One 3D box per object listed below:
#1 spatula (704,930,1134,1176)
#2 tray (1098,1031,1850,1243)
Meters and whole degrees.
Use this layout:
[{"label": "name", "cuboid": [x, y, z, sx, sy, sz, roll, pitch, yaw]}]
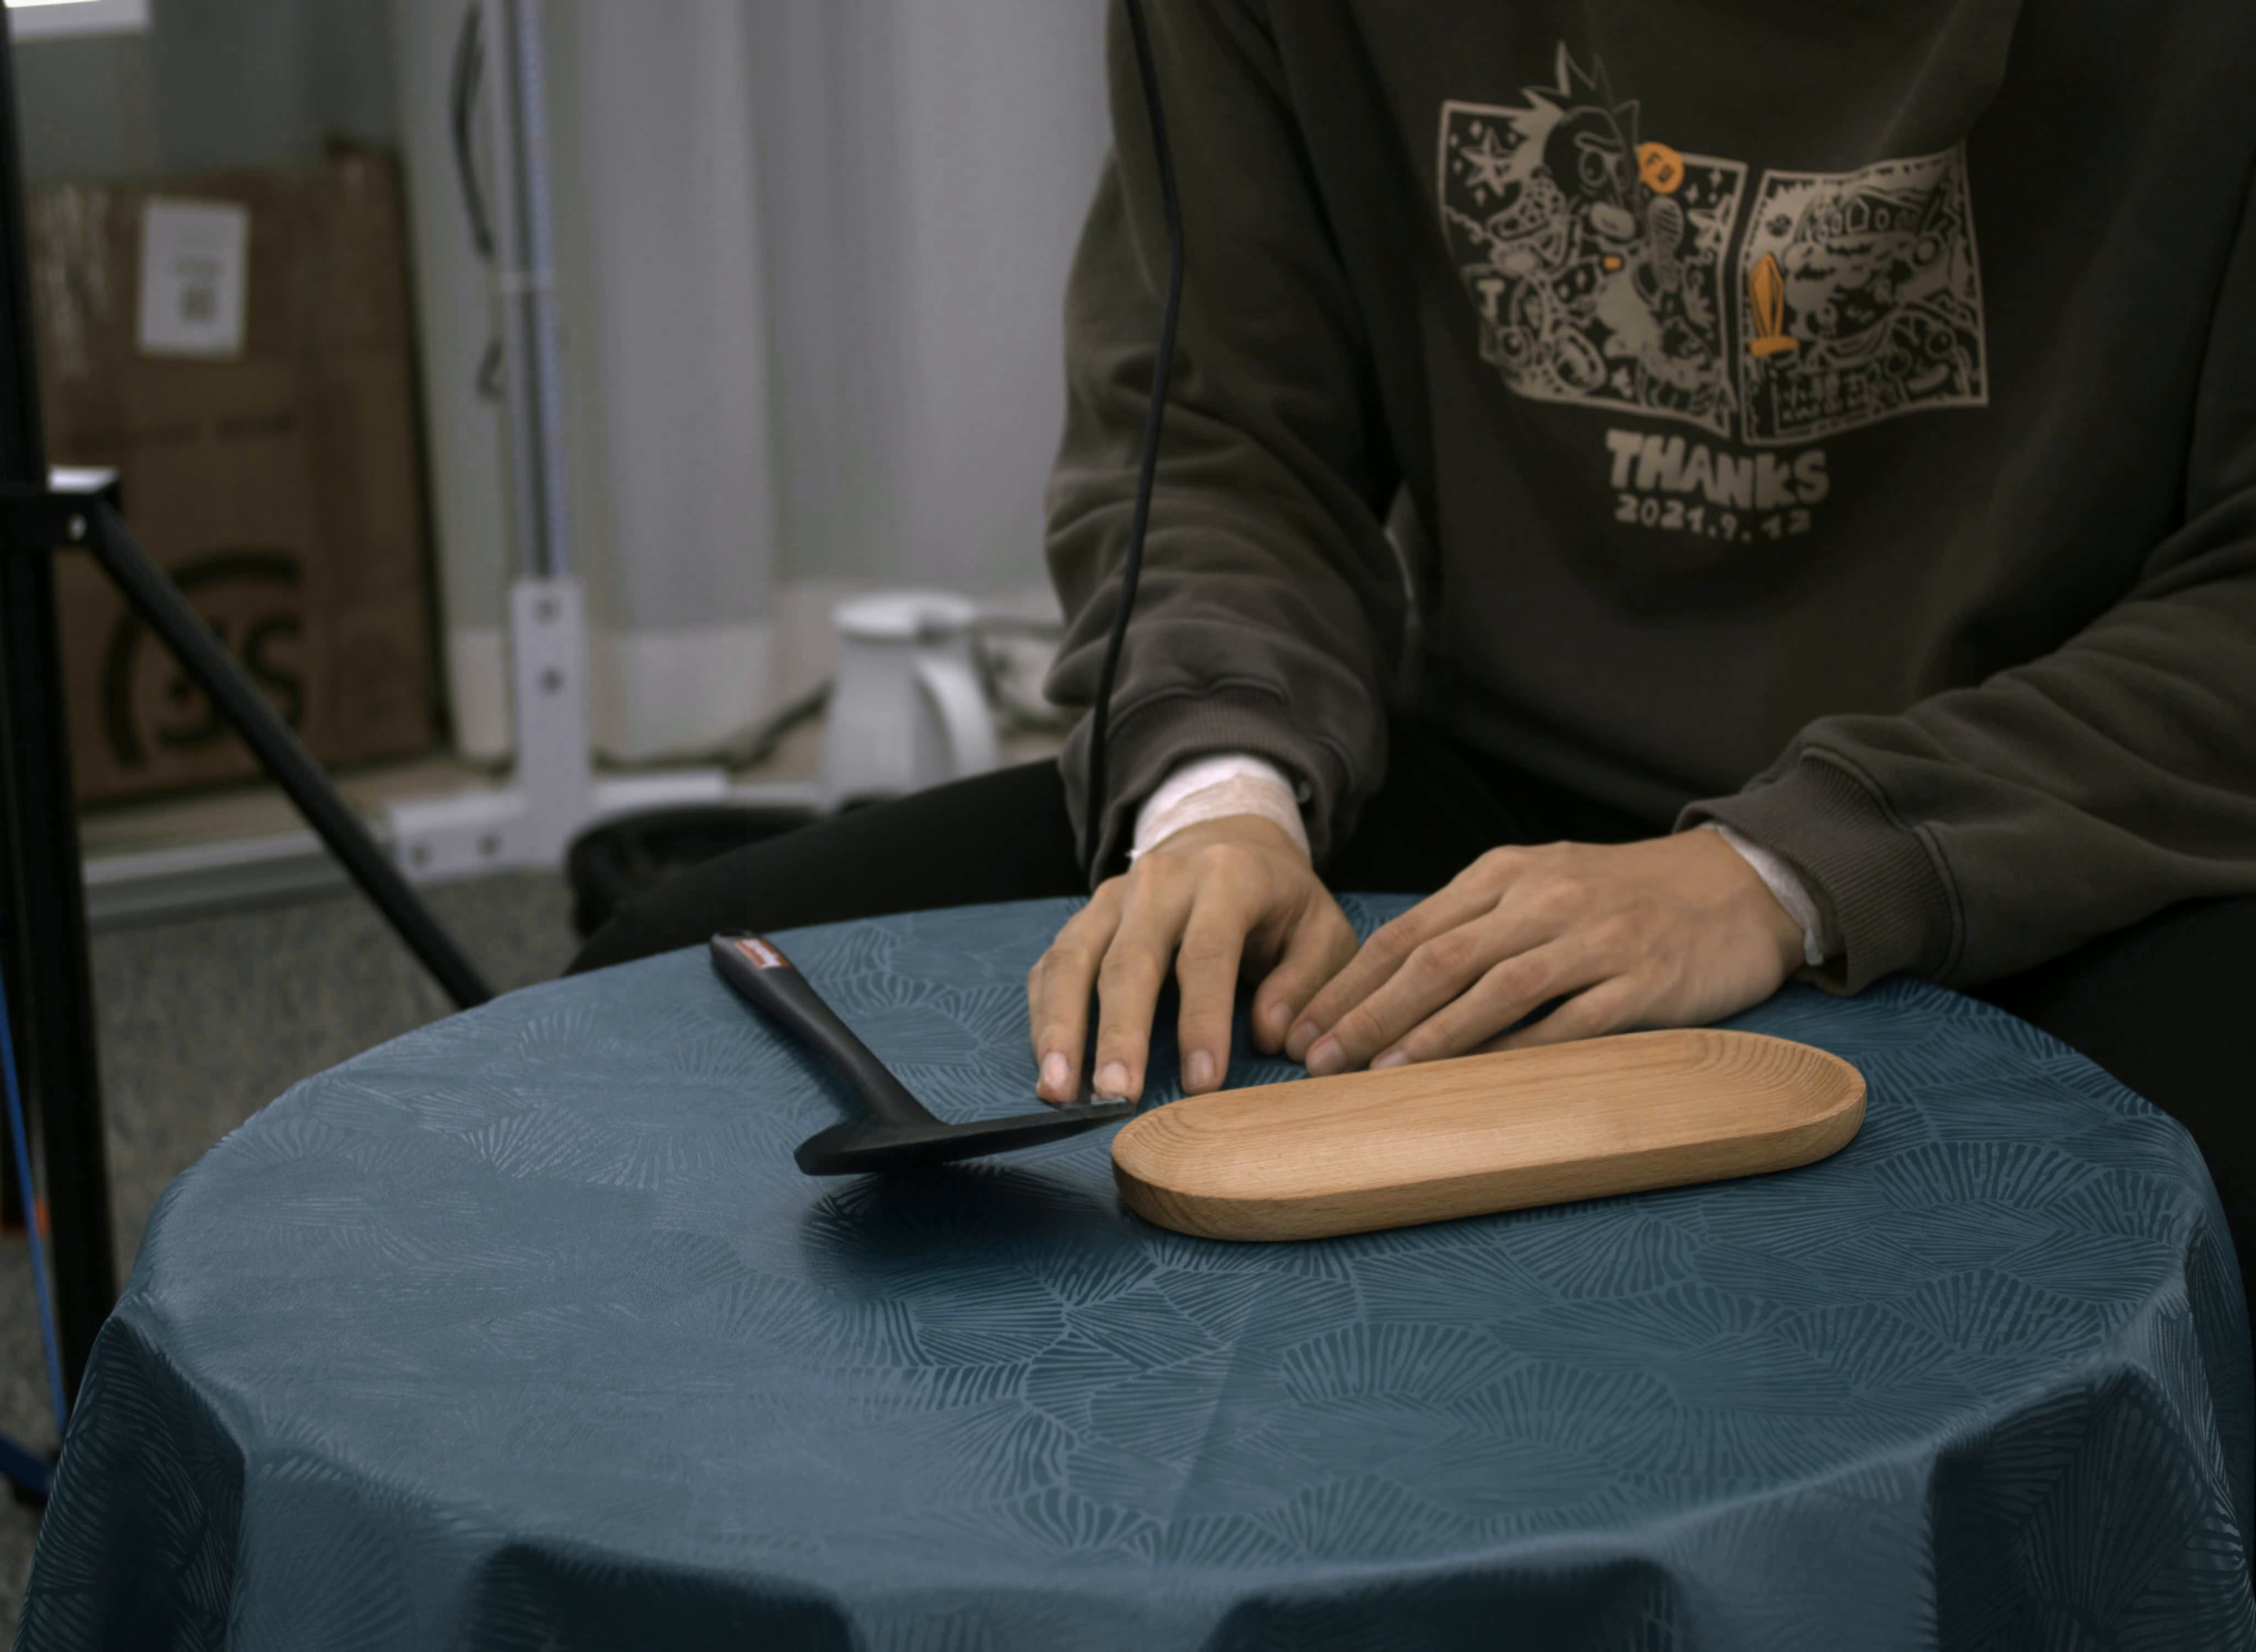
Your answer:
[{"label": "spatula", "cuboid": [-0.089, 0.065, 1.663, 0.098, 0.040, 0.331, -6, 16, -16]}, {"label": "tray", "cuboid": [0.104, 0.092, 1.571, 0.227, 0.020, 0.103, -8, 16, -14]}]
